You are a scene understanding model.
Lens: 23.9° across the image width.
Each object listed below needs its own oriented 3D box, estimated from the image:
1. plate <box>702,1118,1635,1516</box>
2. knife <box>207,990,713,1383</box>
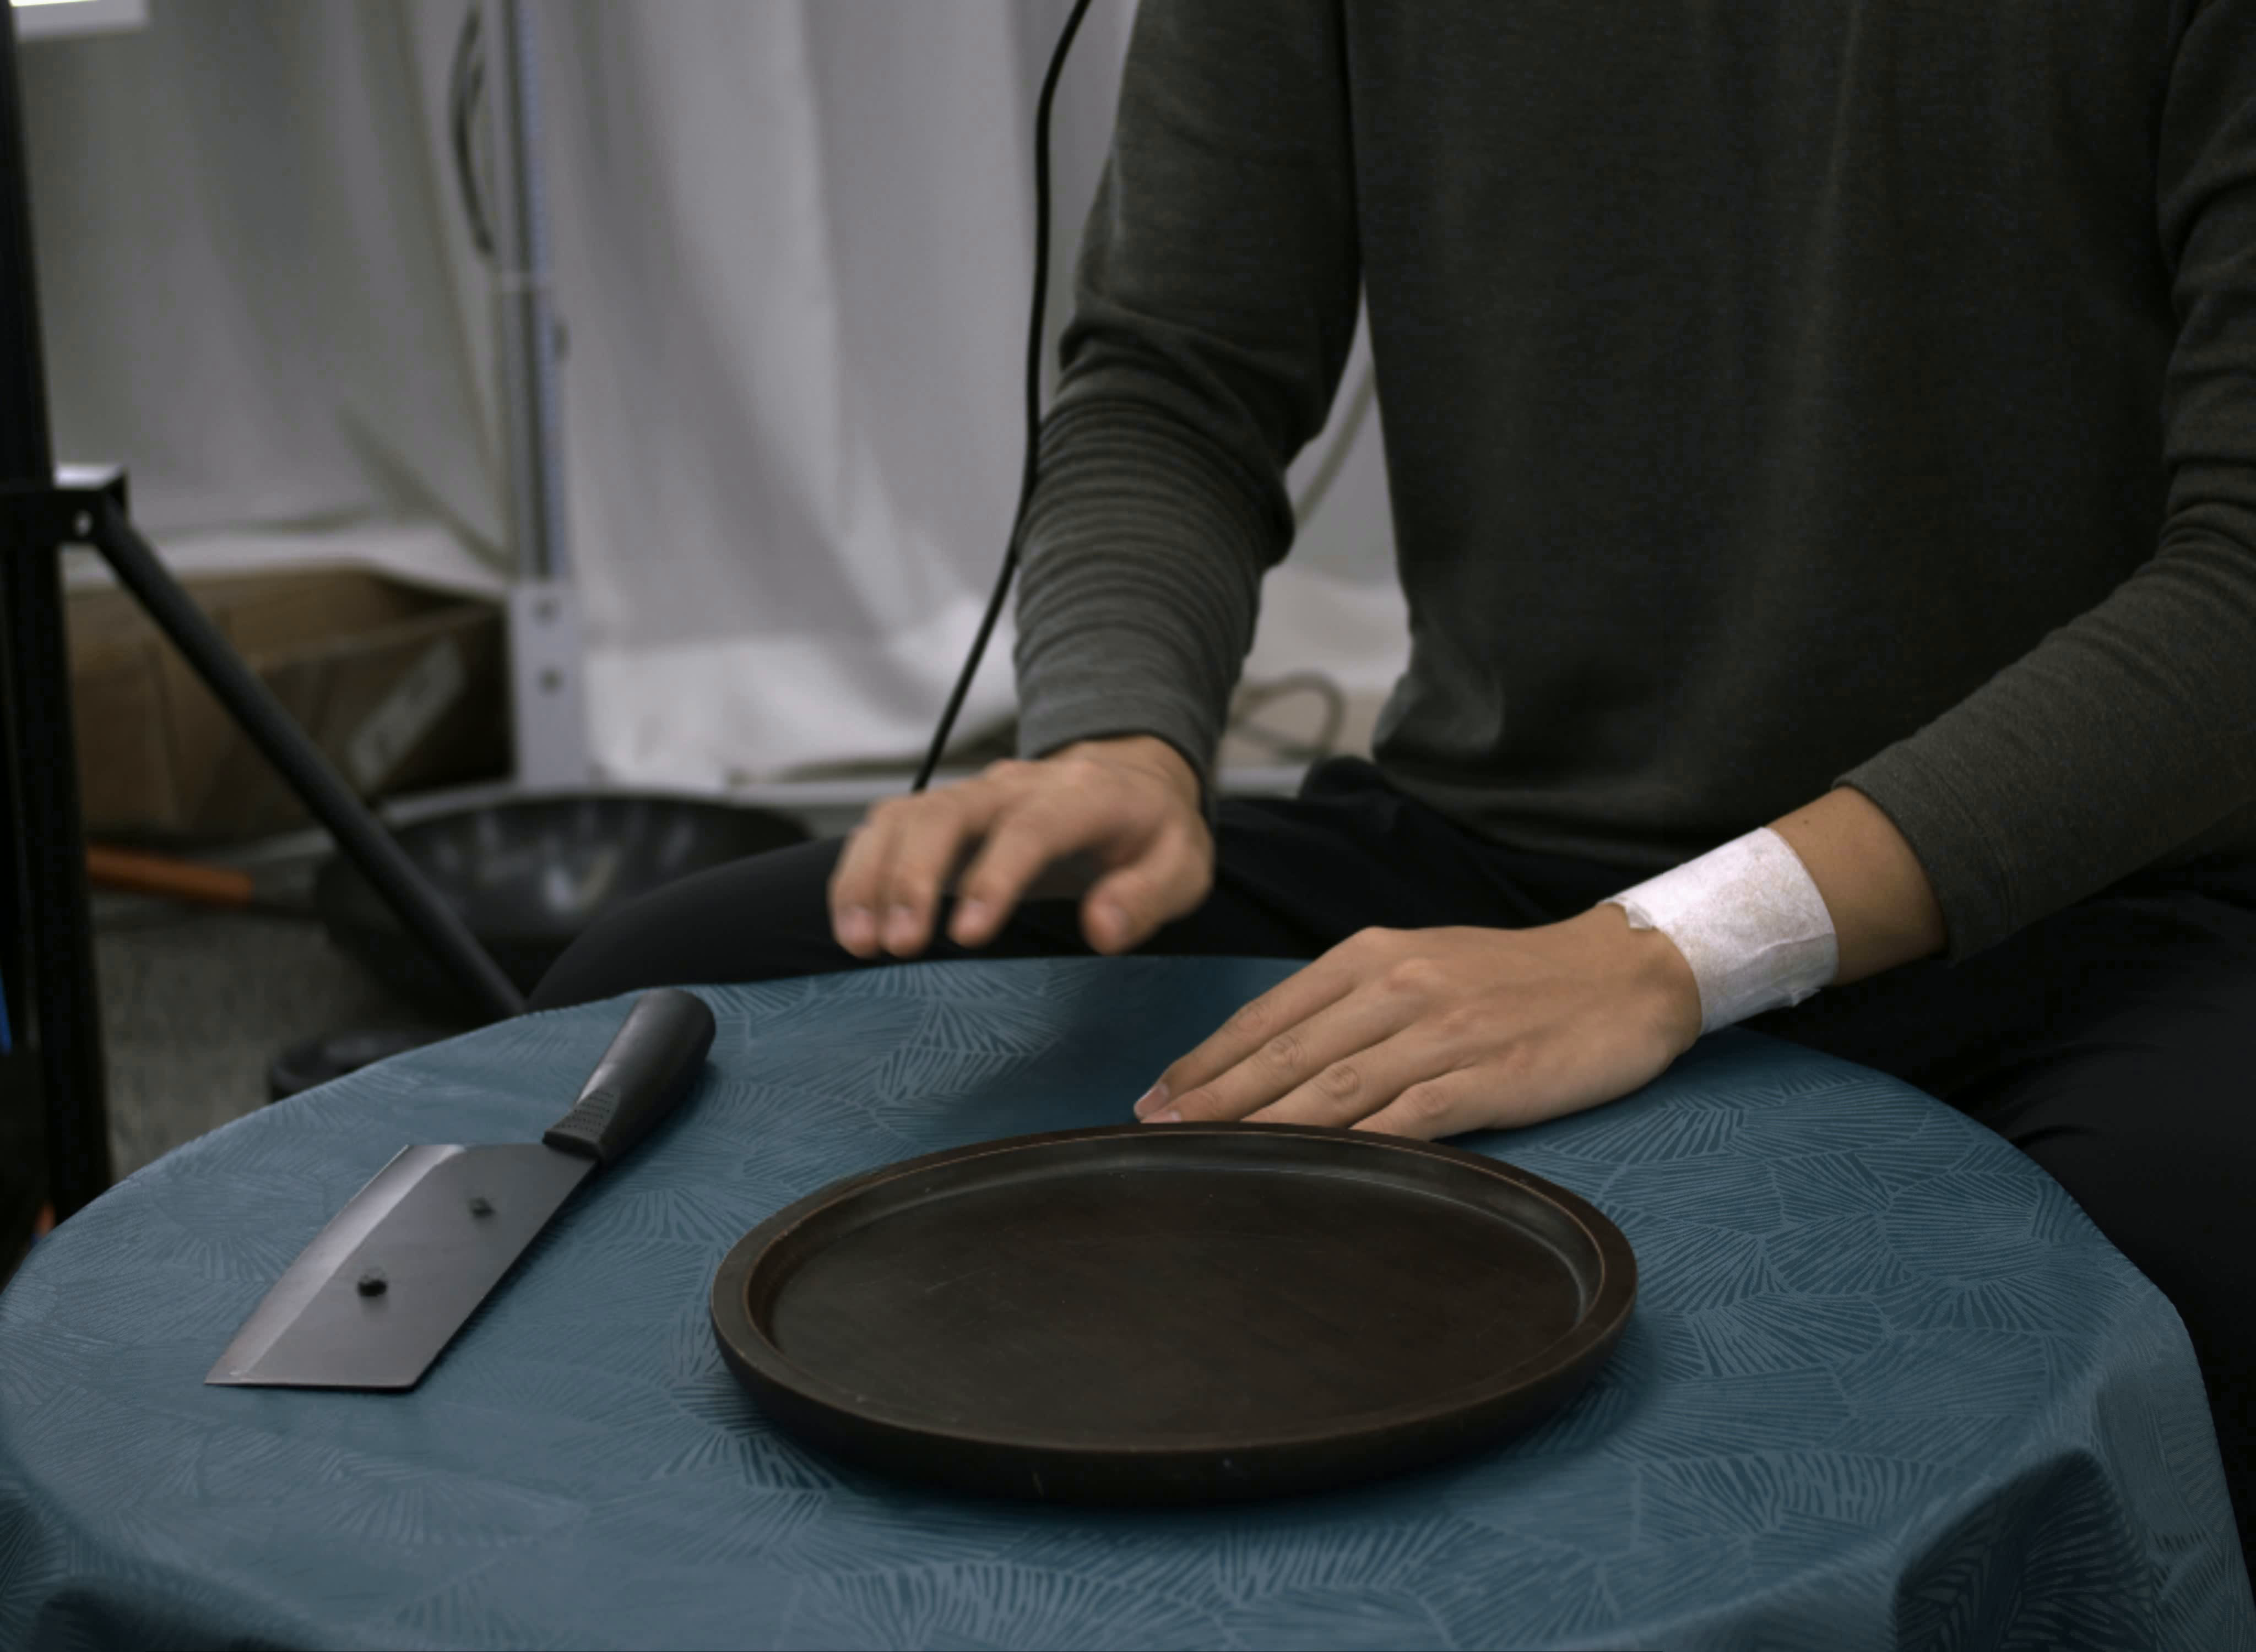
[{"bbox_3d":[0.012,0.130,1.440,0.253,0.029,0.256,-4,15,0],"label":"plate"},{"bbox_3d":[-0.188,0.105,1.576,0.082,0.021,0.299,1,18,17],"label":"knife"}]
